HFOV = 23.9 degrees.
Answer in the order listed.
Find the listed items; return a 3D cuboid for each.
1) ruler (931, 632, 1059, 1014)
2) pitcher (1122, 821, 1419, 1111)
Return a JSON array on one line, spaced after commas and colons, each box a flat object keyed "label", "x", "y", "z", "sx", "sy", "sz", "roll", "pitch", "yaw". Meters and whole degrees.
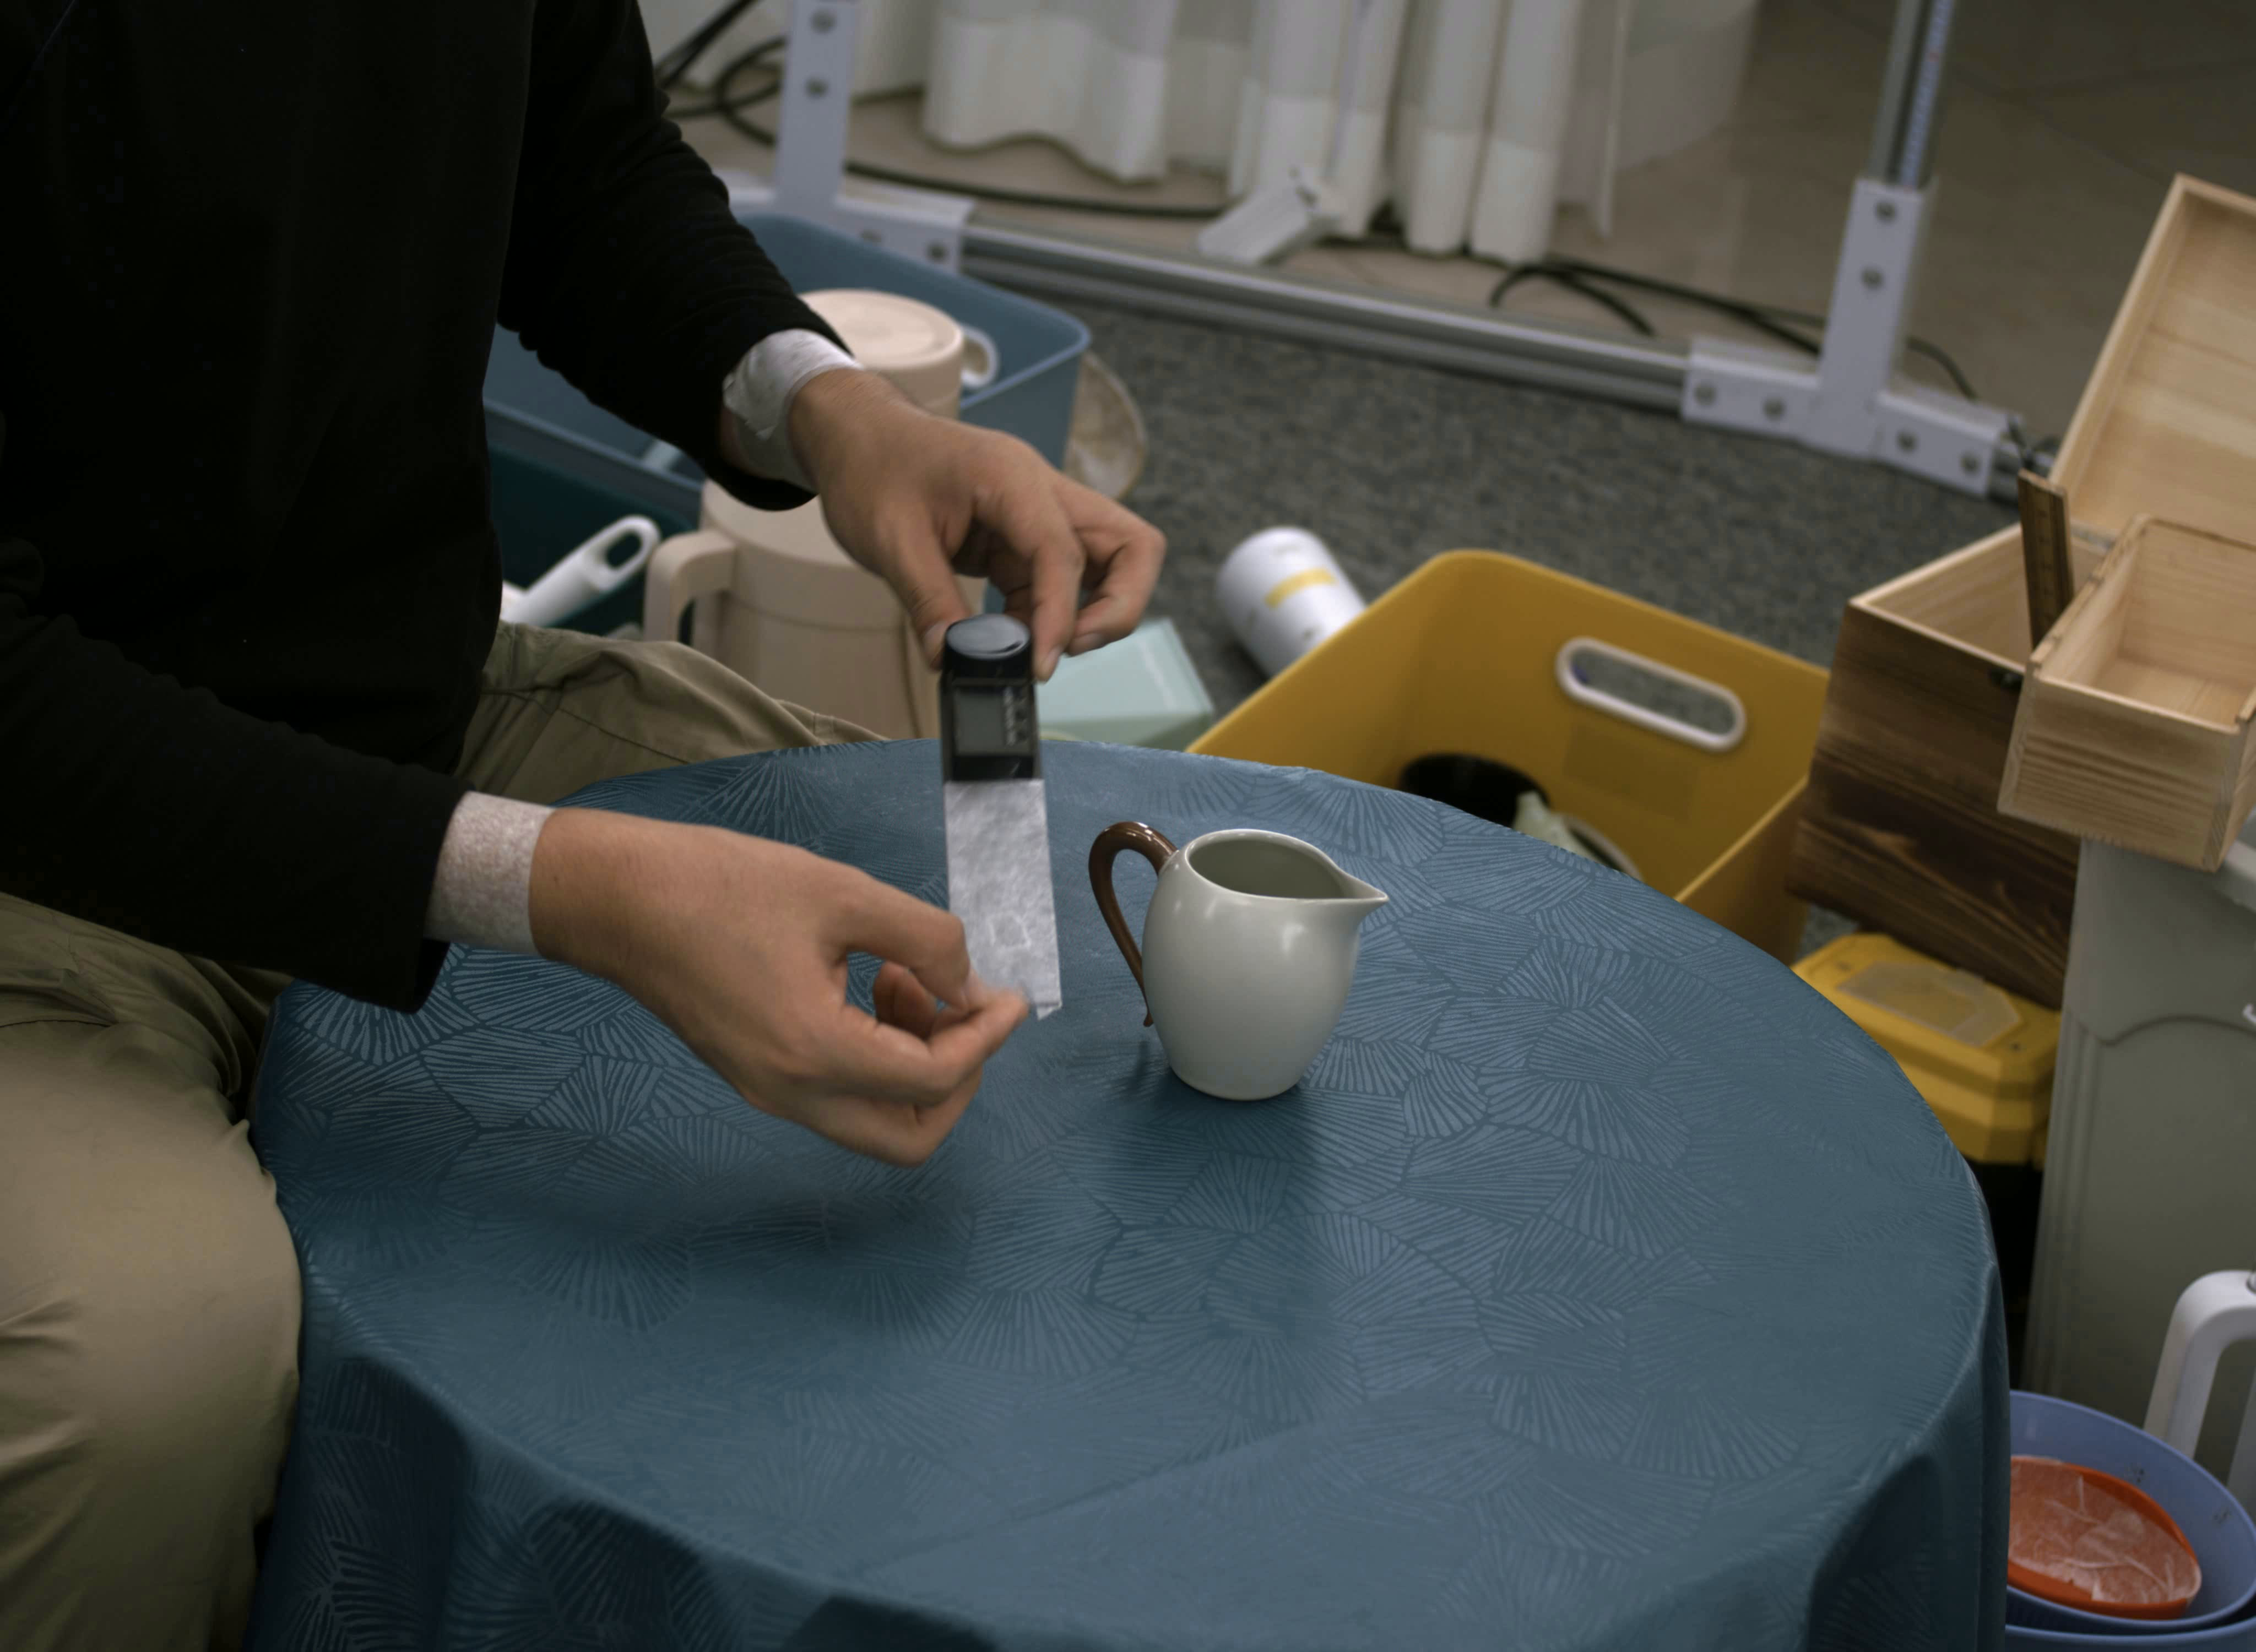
[{"label": "ruler", "x": -0.048, "y": -0.004, "z": 1.837, "sx": 0.038, "sy": 0.024, "sz": 0.220, "roll": -7, "pitch": 32, "yaw": 0}, {"label": "pitcher", "x": 0.044, "y": 0.048, "z": 1.864, "sx": 0.120, "sy": 0.087, "sz": 0.075, "roll": 25, "pitch": 28, "yaw": 29}]
